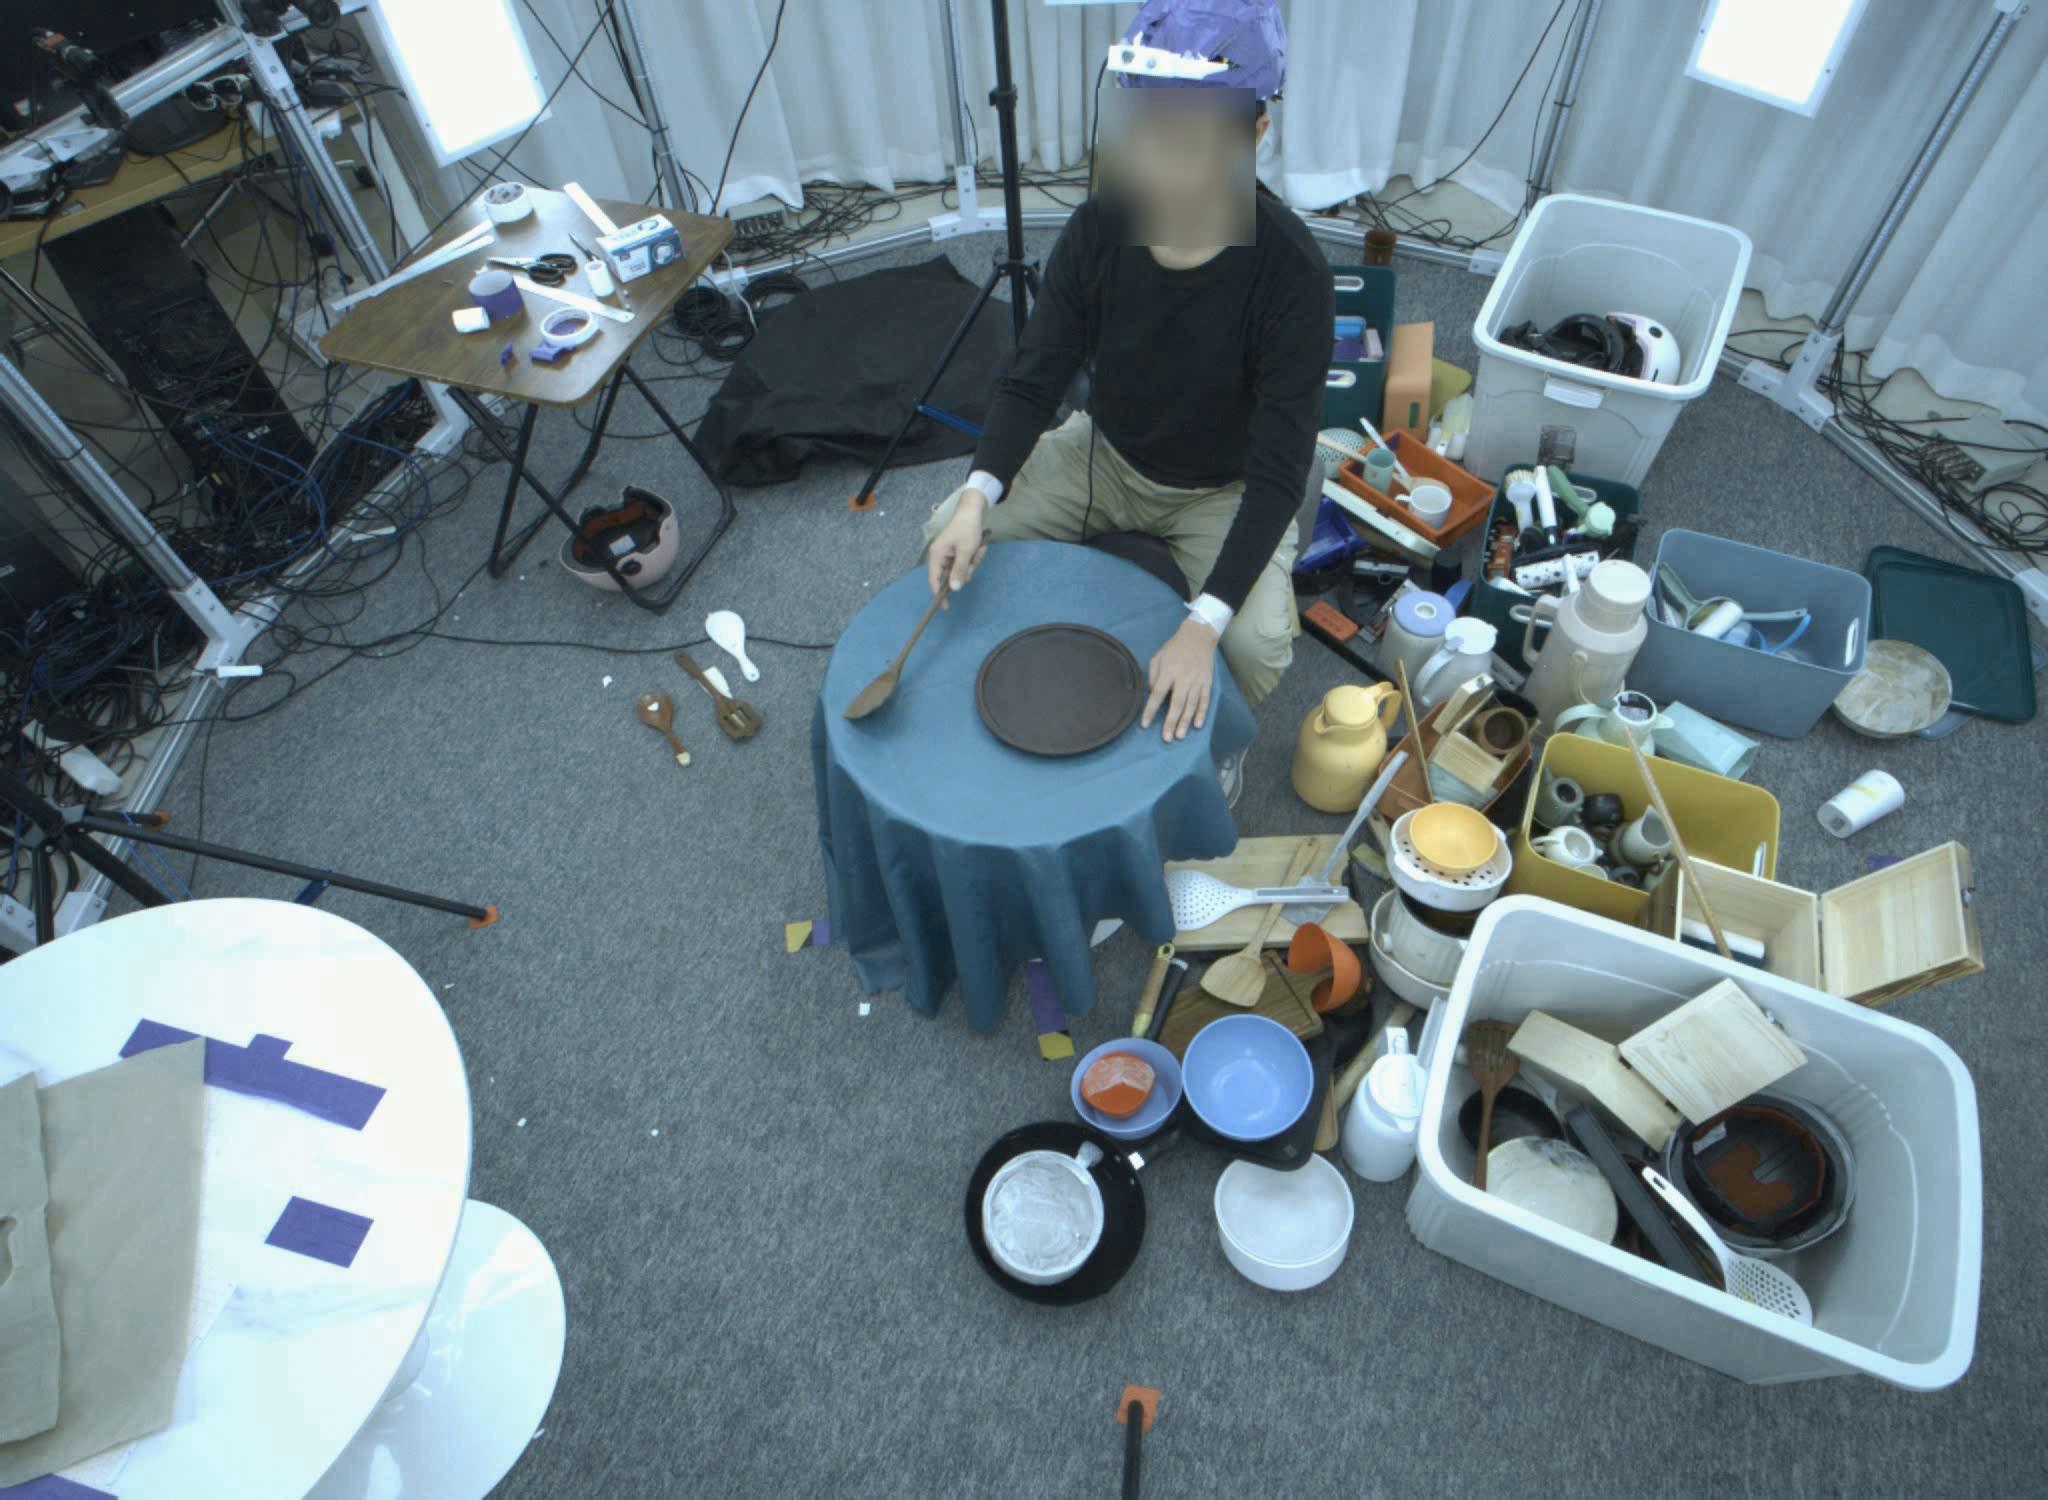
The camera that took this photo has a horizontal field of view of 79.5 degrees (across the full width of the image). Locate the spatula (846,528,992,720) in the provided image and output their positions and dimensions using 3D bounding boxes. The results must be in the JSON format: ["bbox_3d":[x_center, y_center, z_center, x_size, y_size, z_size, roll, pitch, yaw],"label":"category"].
[{"bbox_3d":[-0.152,-0.198,1.864,0.094,0.016,0.386,-1,52,55],"label":"spatula"}]

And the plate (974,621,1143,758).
[{"bbox_3d":[0.052,-0.091,1.837,0.254,0.029,0.252,-1,55,3],"label":"plate"}]
